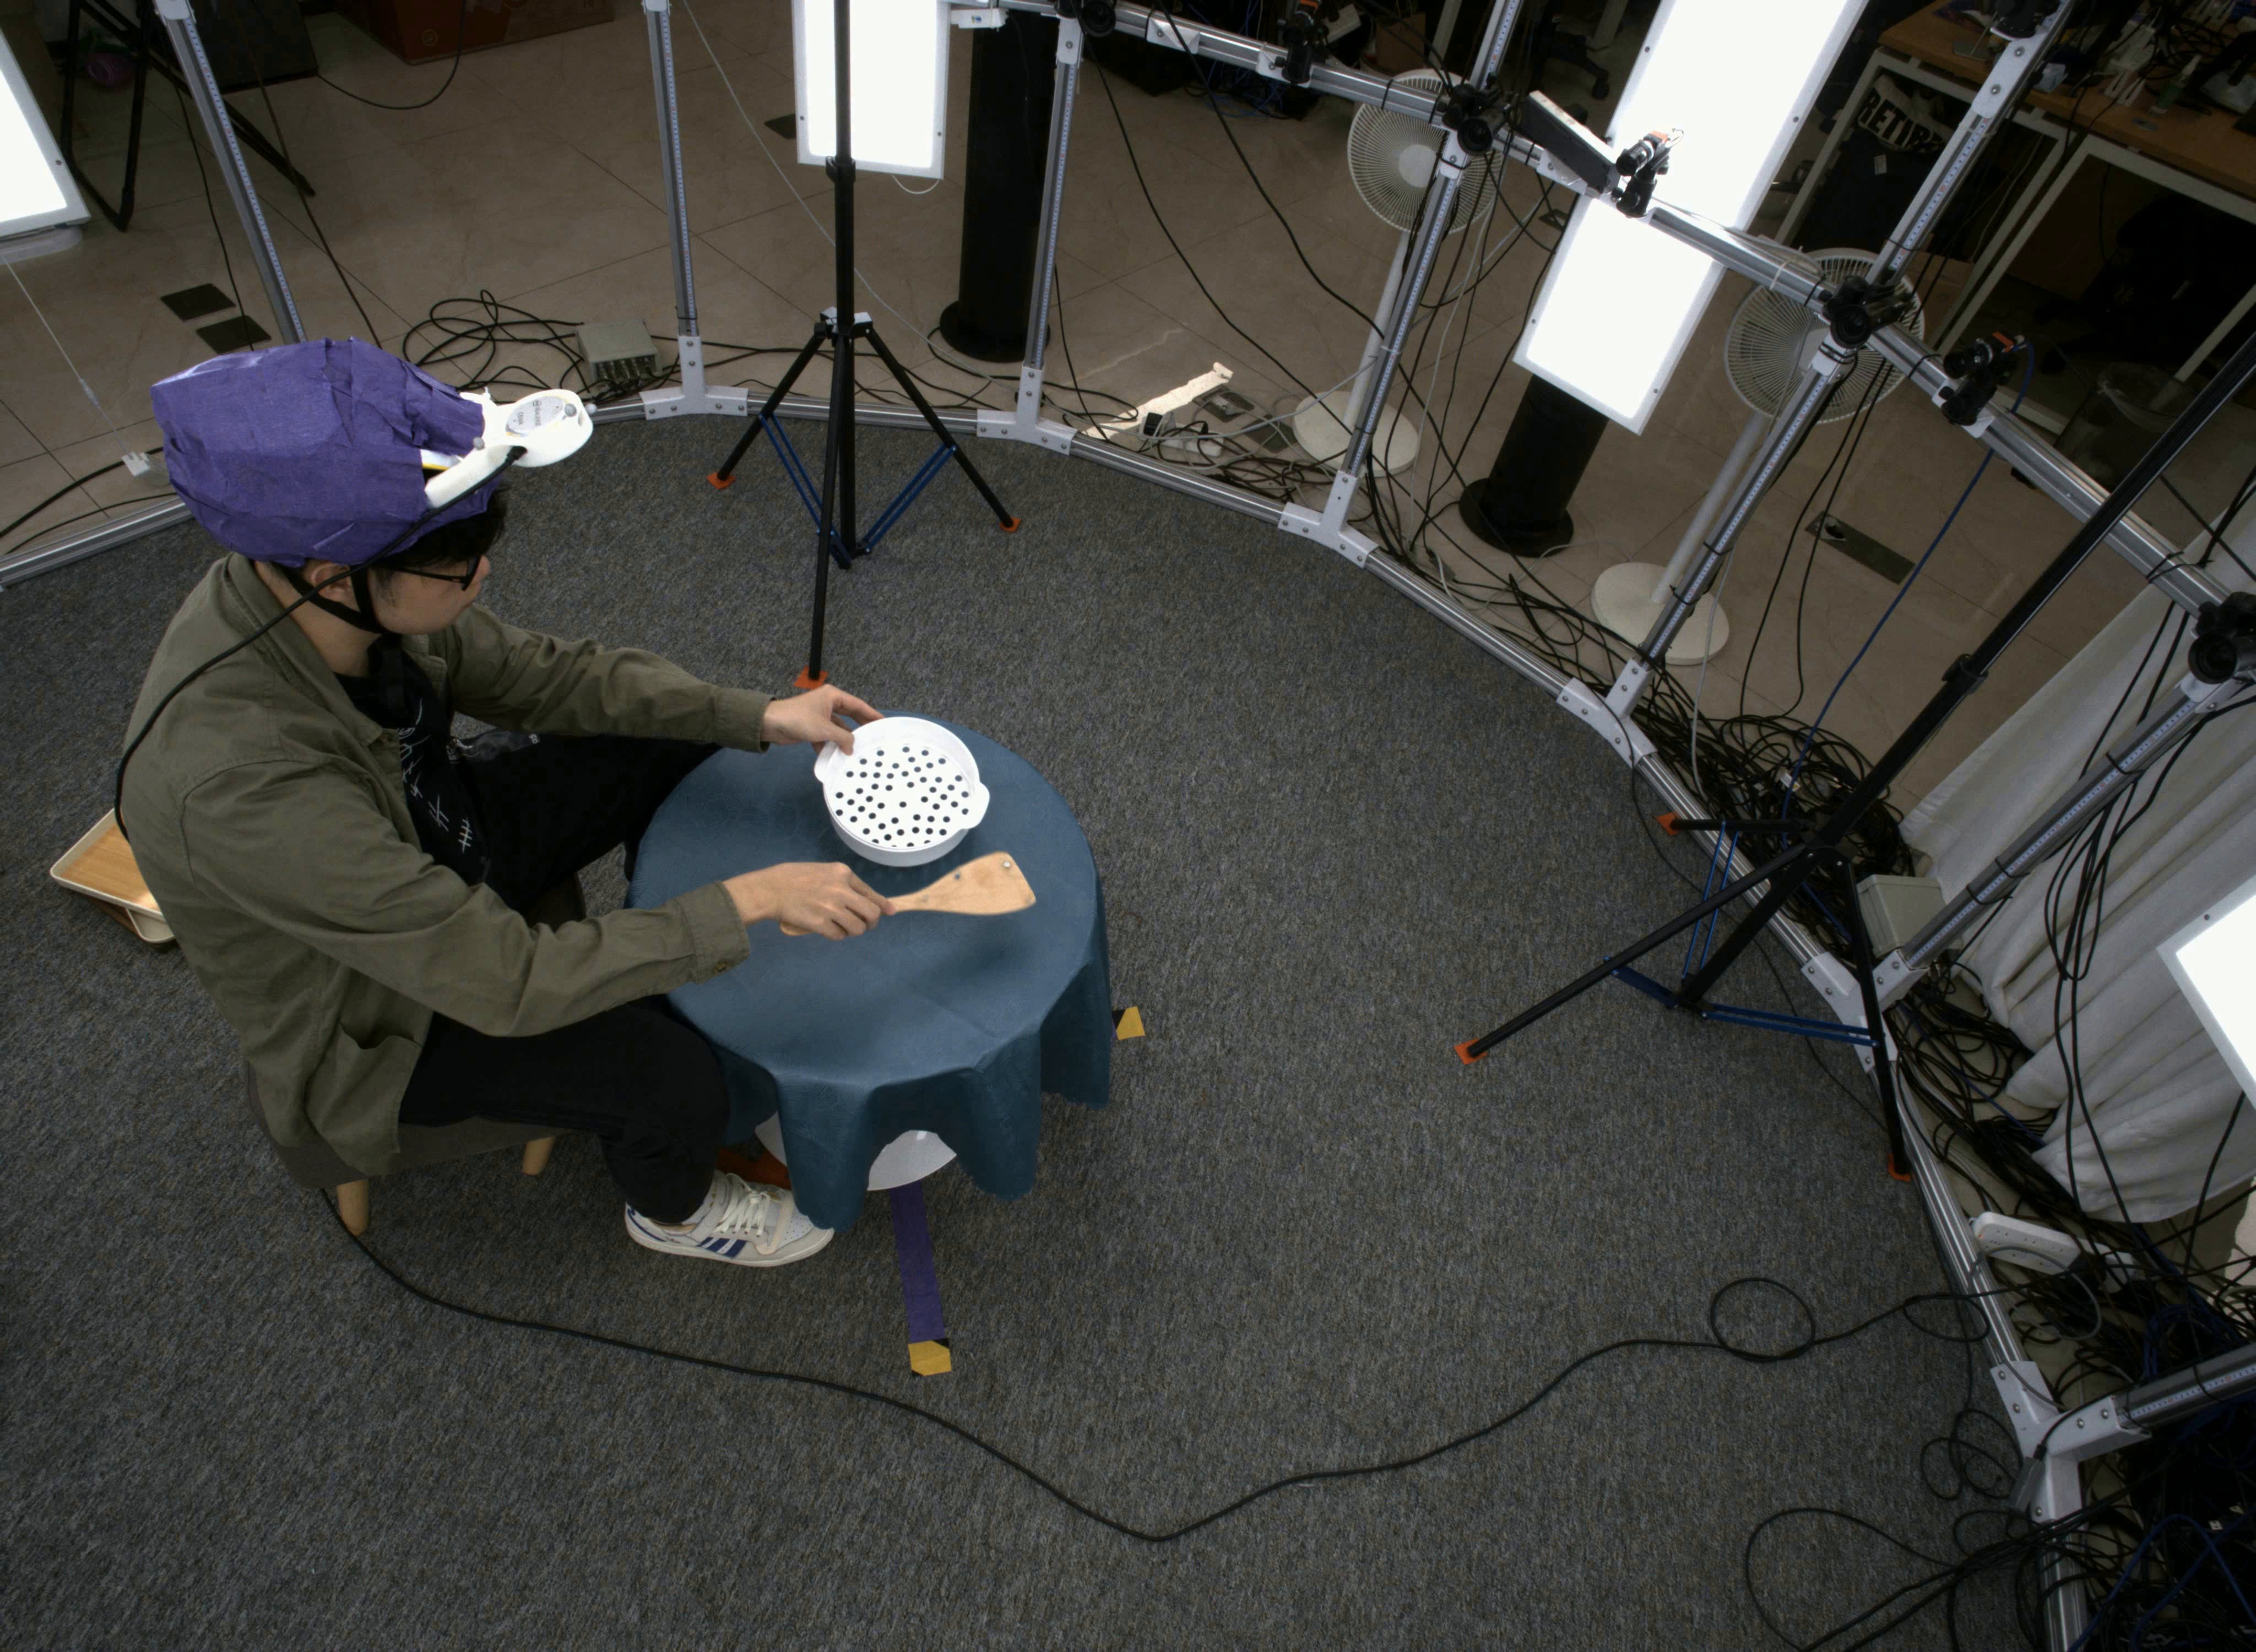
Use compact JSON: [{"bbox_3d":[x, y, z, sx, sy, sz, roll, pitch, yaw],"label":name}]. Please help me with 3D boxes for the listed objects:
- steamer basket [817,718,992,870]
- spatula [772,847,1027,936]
[{"bbox_3d":[-0.294,-0.041,1.719,0.229,0.070,0.200,18,61,-1],"label":"steamer basket"},{"bbox_3d":[-0.269,0.084,1.549,0.332,0.016,0.079,-11,72,-39],"label":"spatula"}]
